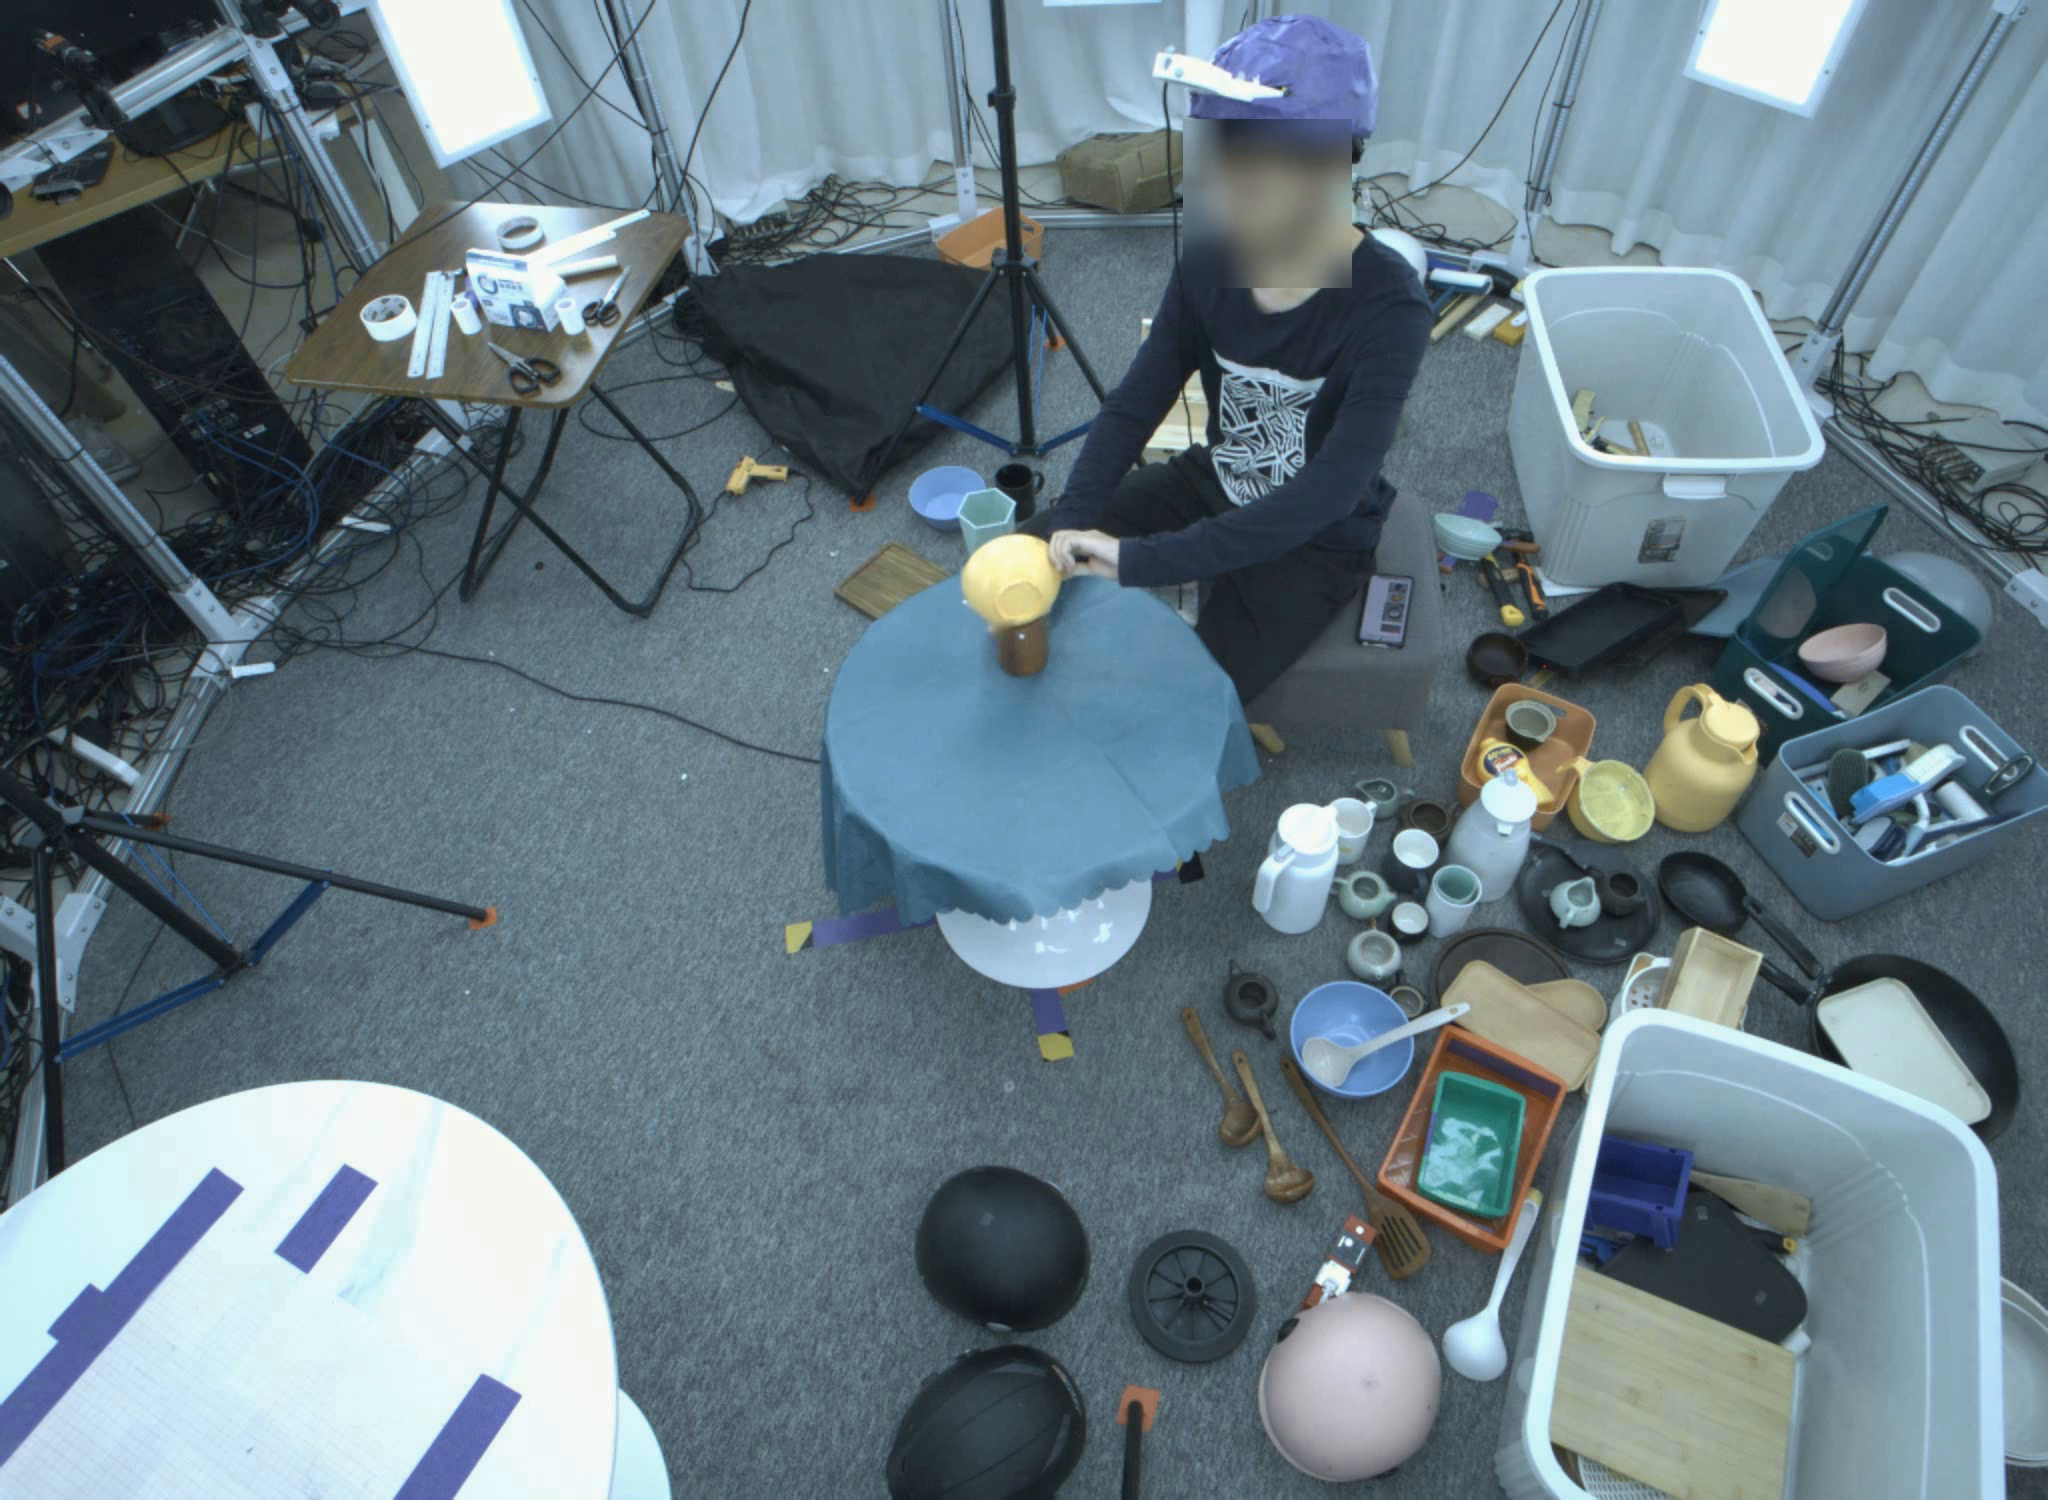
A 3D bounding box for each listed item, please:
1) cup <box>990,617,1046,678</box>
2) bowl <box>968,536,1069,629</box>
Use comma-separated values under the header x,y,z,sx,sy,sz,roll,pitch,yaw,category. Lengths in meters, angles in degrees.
x,y,z,sx,sy,sz,roll,pitch,yaw,category
-0.009,-0.175,1.832,0.088,0.119,0.087,0,57,1,cup
-0.005,-0.220,1.705,0.146,0.147,0.059,-9,40,-3,bowl
